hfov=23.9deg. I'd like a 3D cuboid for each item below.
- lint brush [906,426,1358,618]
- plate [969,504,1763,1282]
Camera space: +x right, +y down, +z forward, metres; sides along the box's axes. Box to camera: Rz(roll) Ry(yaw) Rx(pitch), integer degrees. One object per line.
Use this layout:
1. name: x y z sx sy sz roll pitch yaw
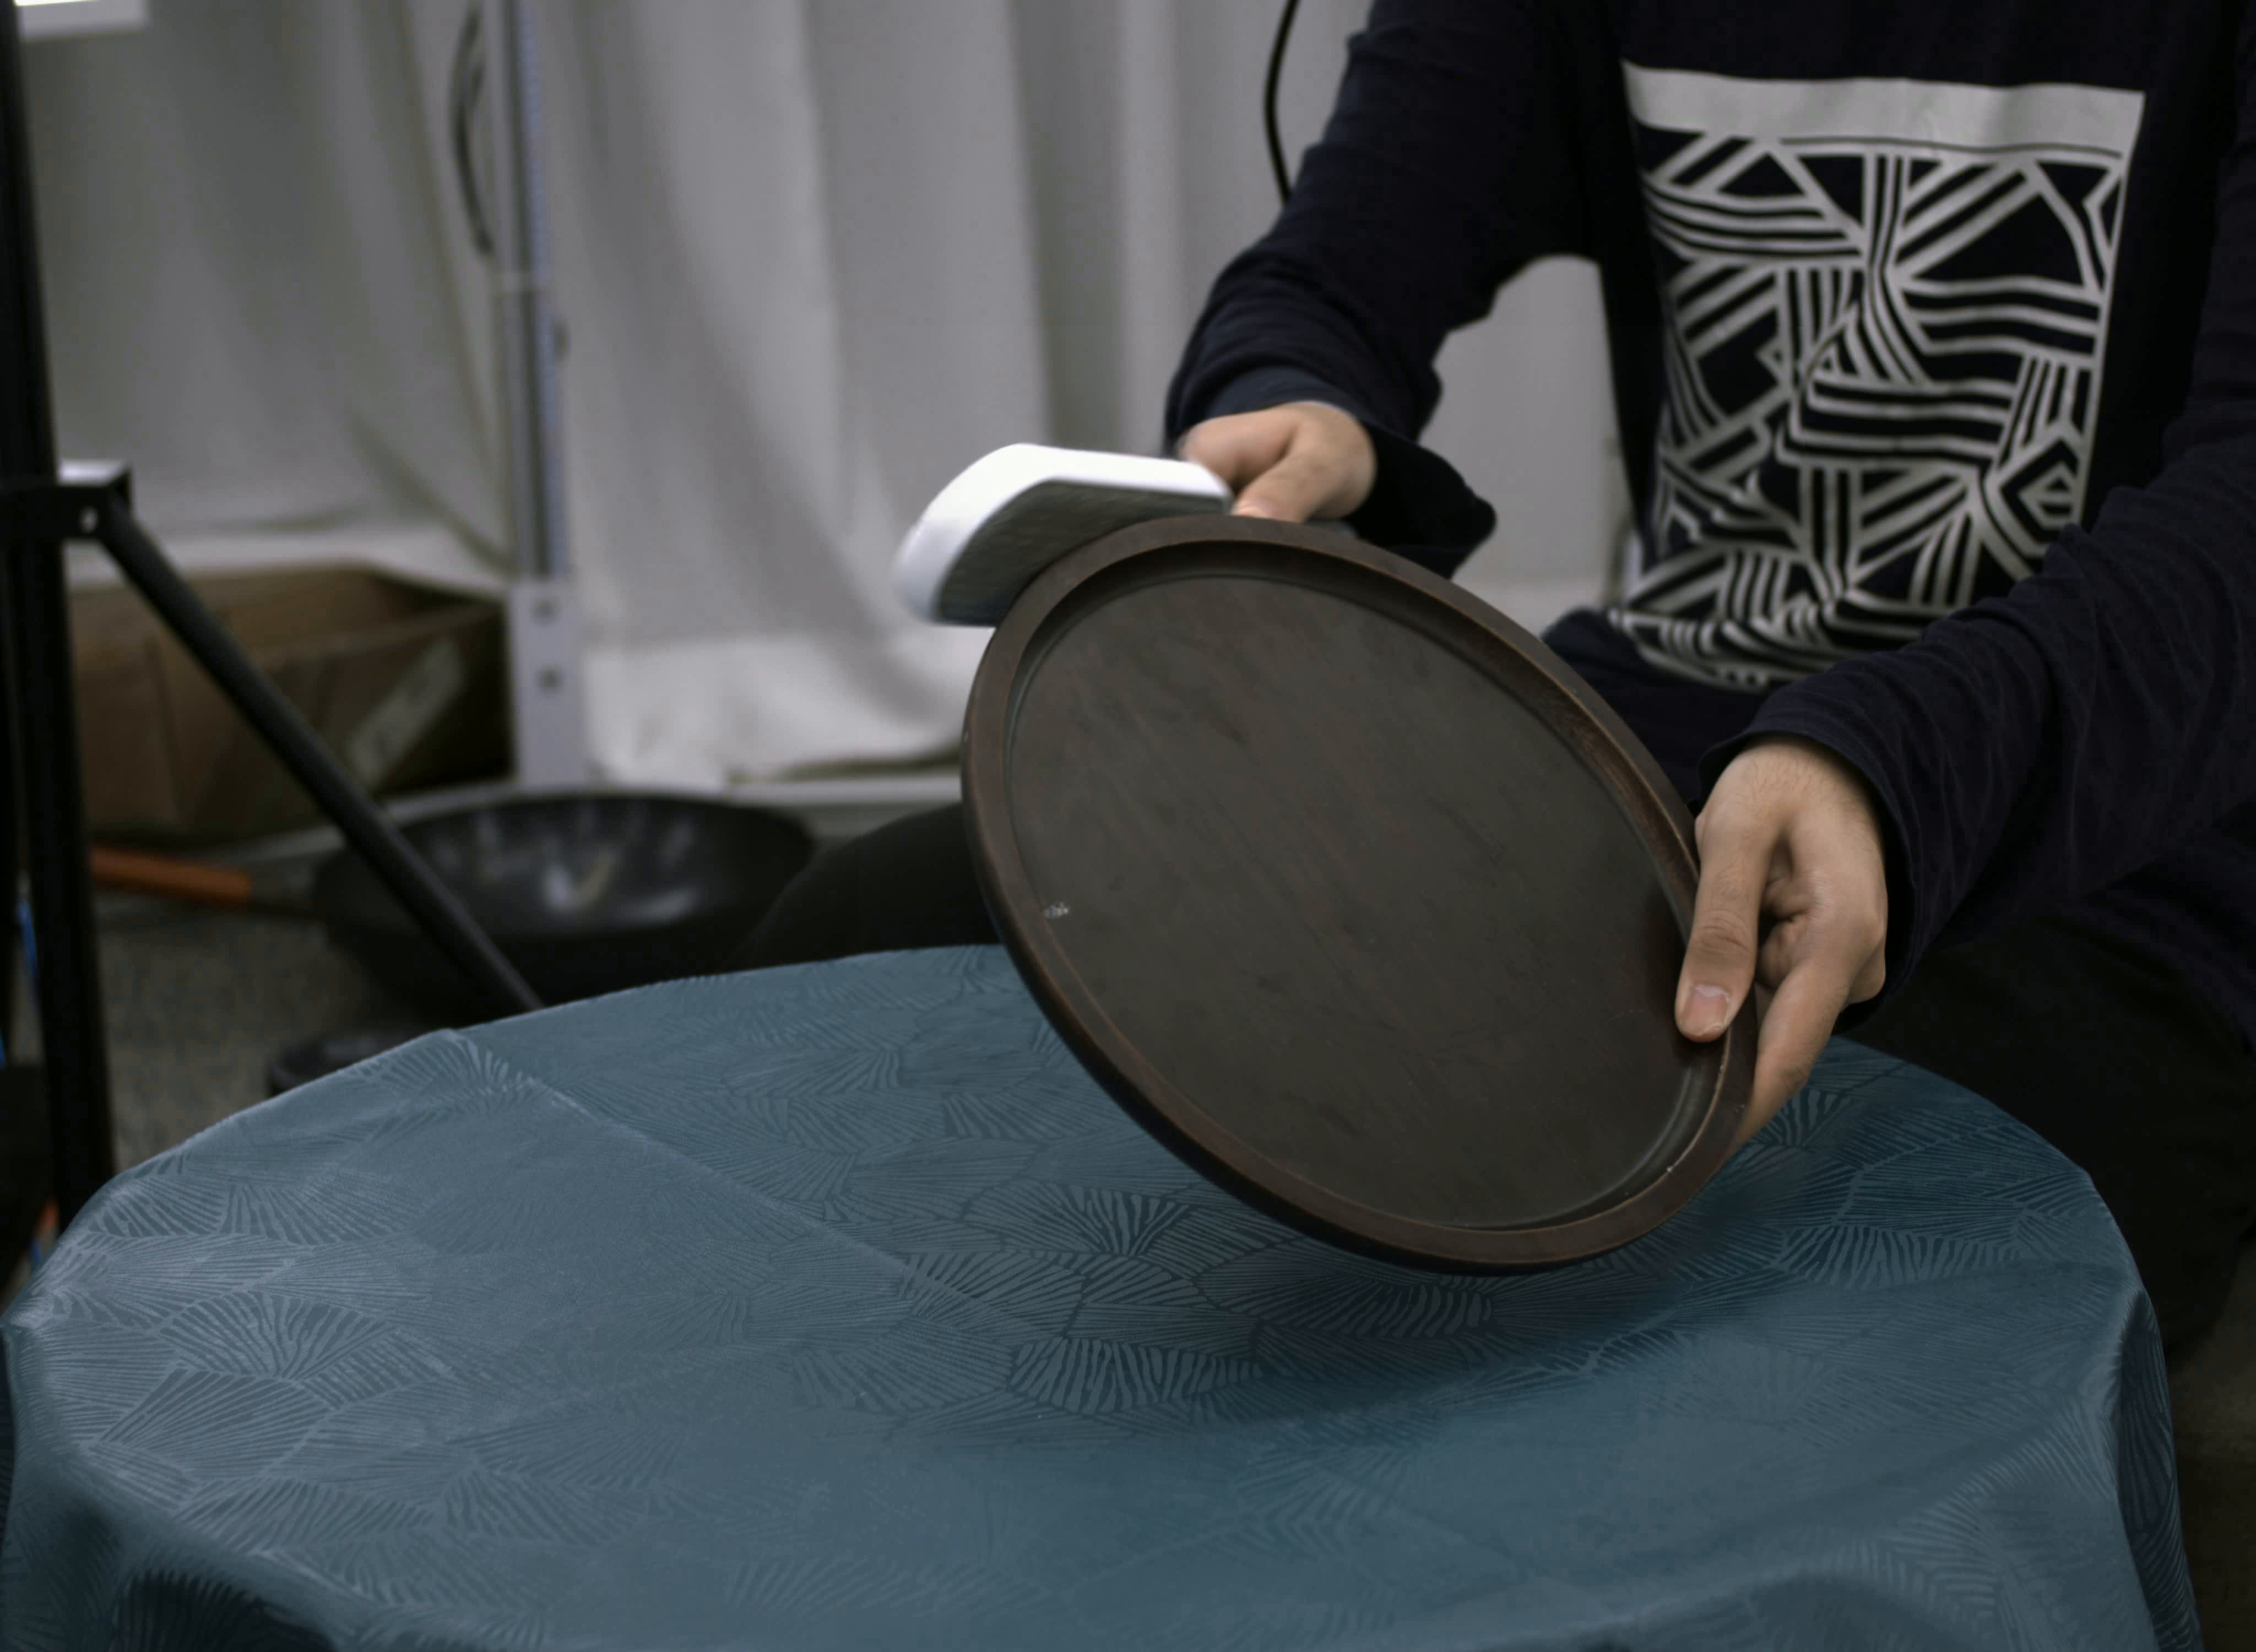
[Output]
1. lint brush: 0.009 -0.088 1.586 0.021 0.060 0.303 38 14 17
2. plate: 0.066 0.017 1.478 0.249 0.258 0.029 -16 -23 -41
